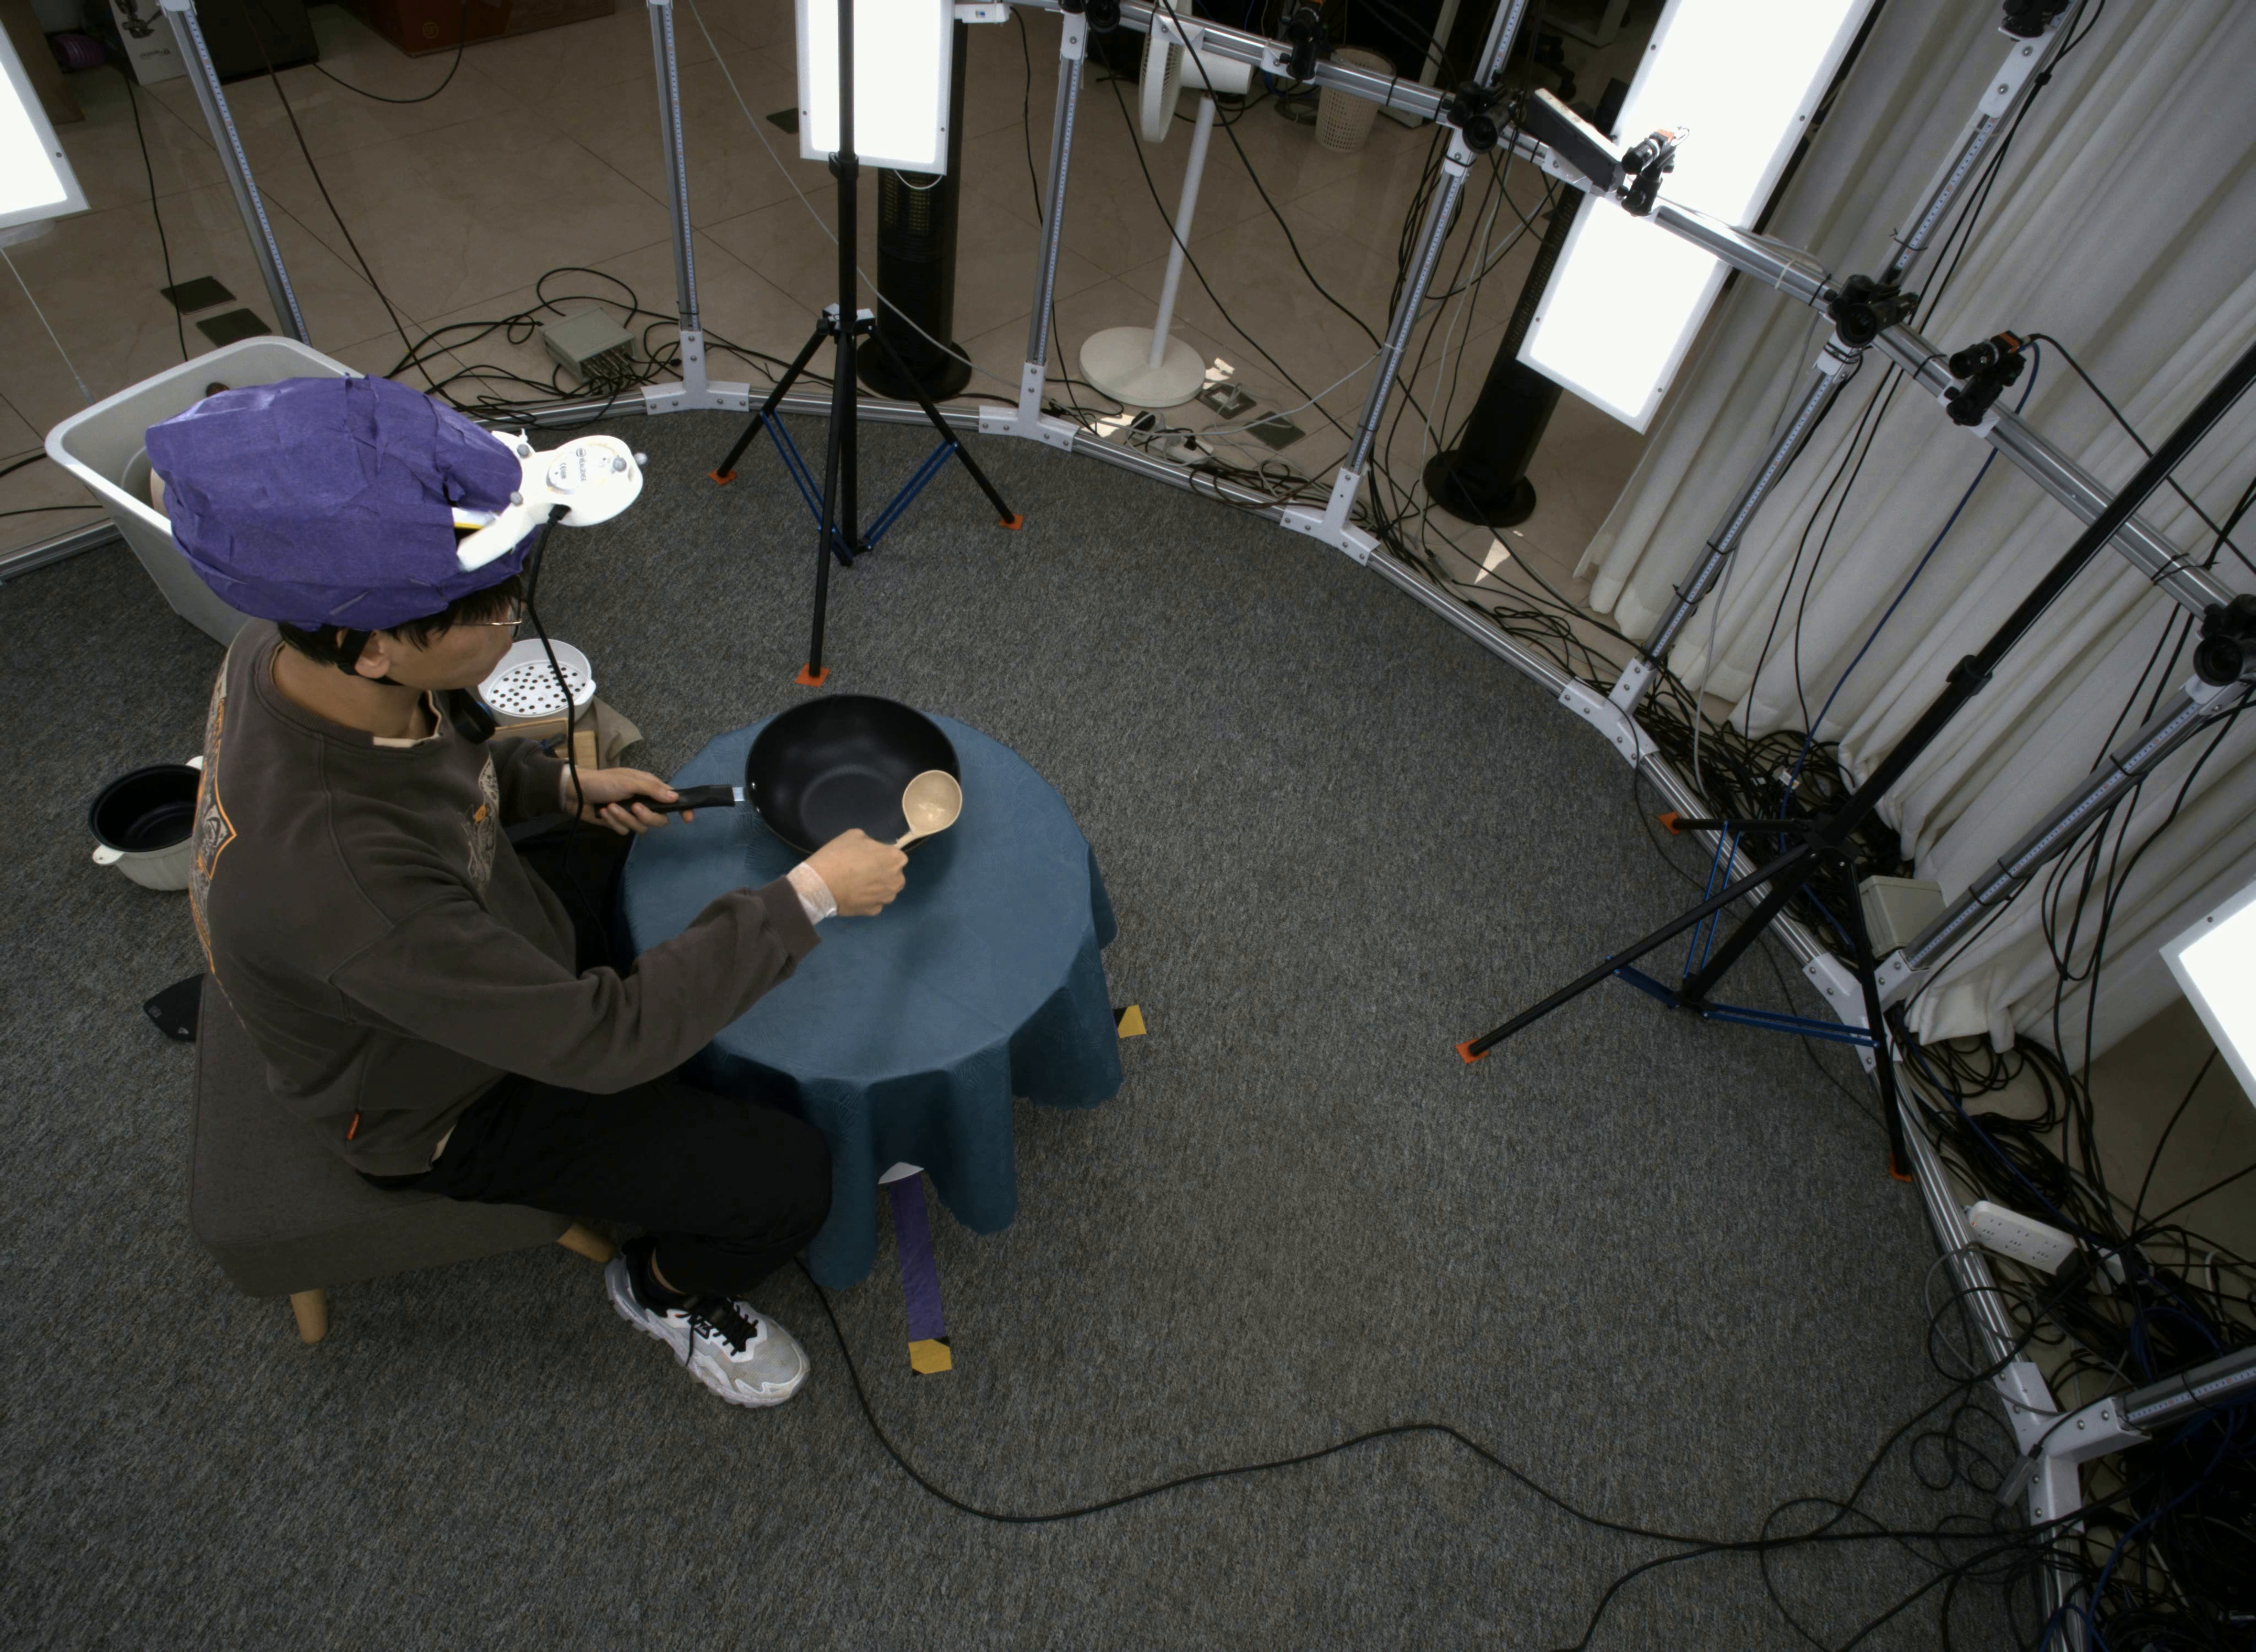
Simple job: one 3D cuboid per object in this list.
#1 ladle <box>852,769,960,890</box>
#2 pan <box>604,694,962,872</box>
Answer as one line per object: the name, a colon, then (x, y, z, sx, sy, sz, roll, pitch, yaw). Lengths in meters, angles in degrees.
ladle: (-0.258, -0.002, 1.494, 0.071, 0.074, 0.252, 24, 19, 2)
pan: (-0.448, -0.030, 1.701, 0.465, 0.088, 0.281, -10, 57, -19)
